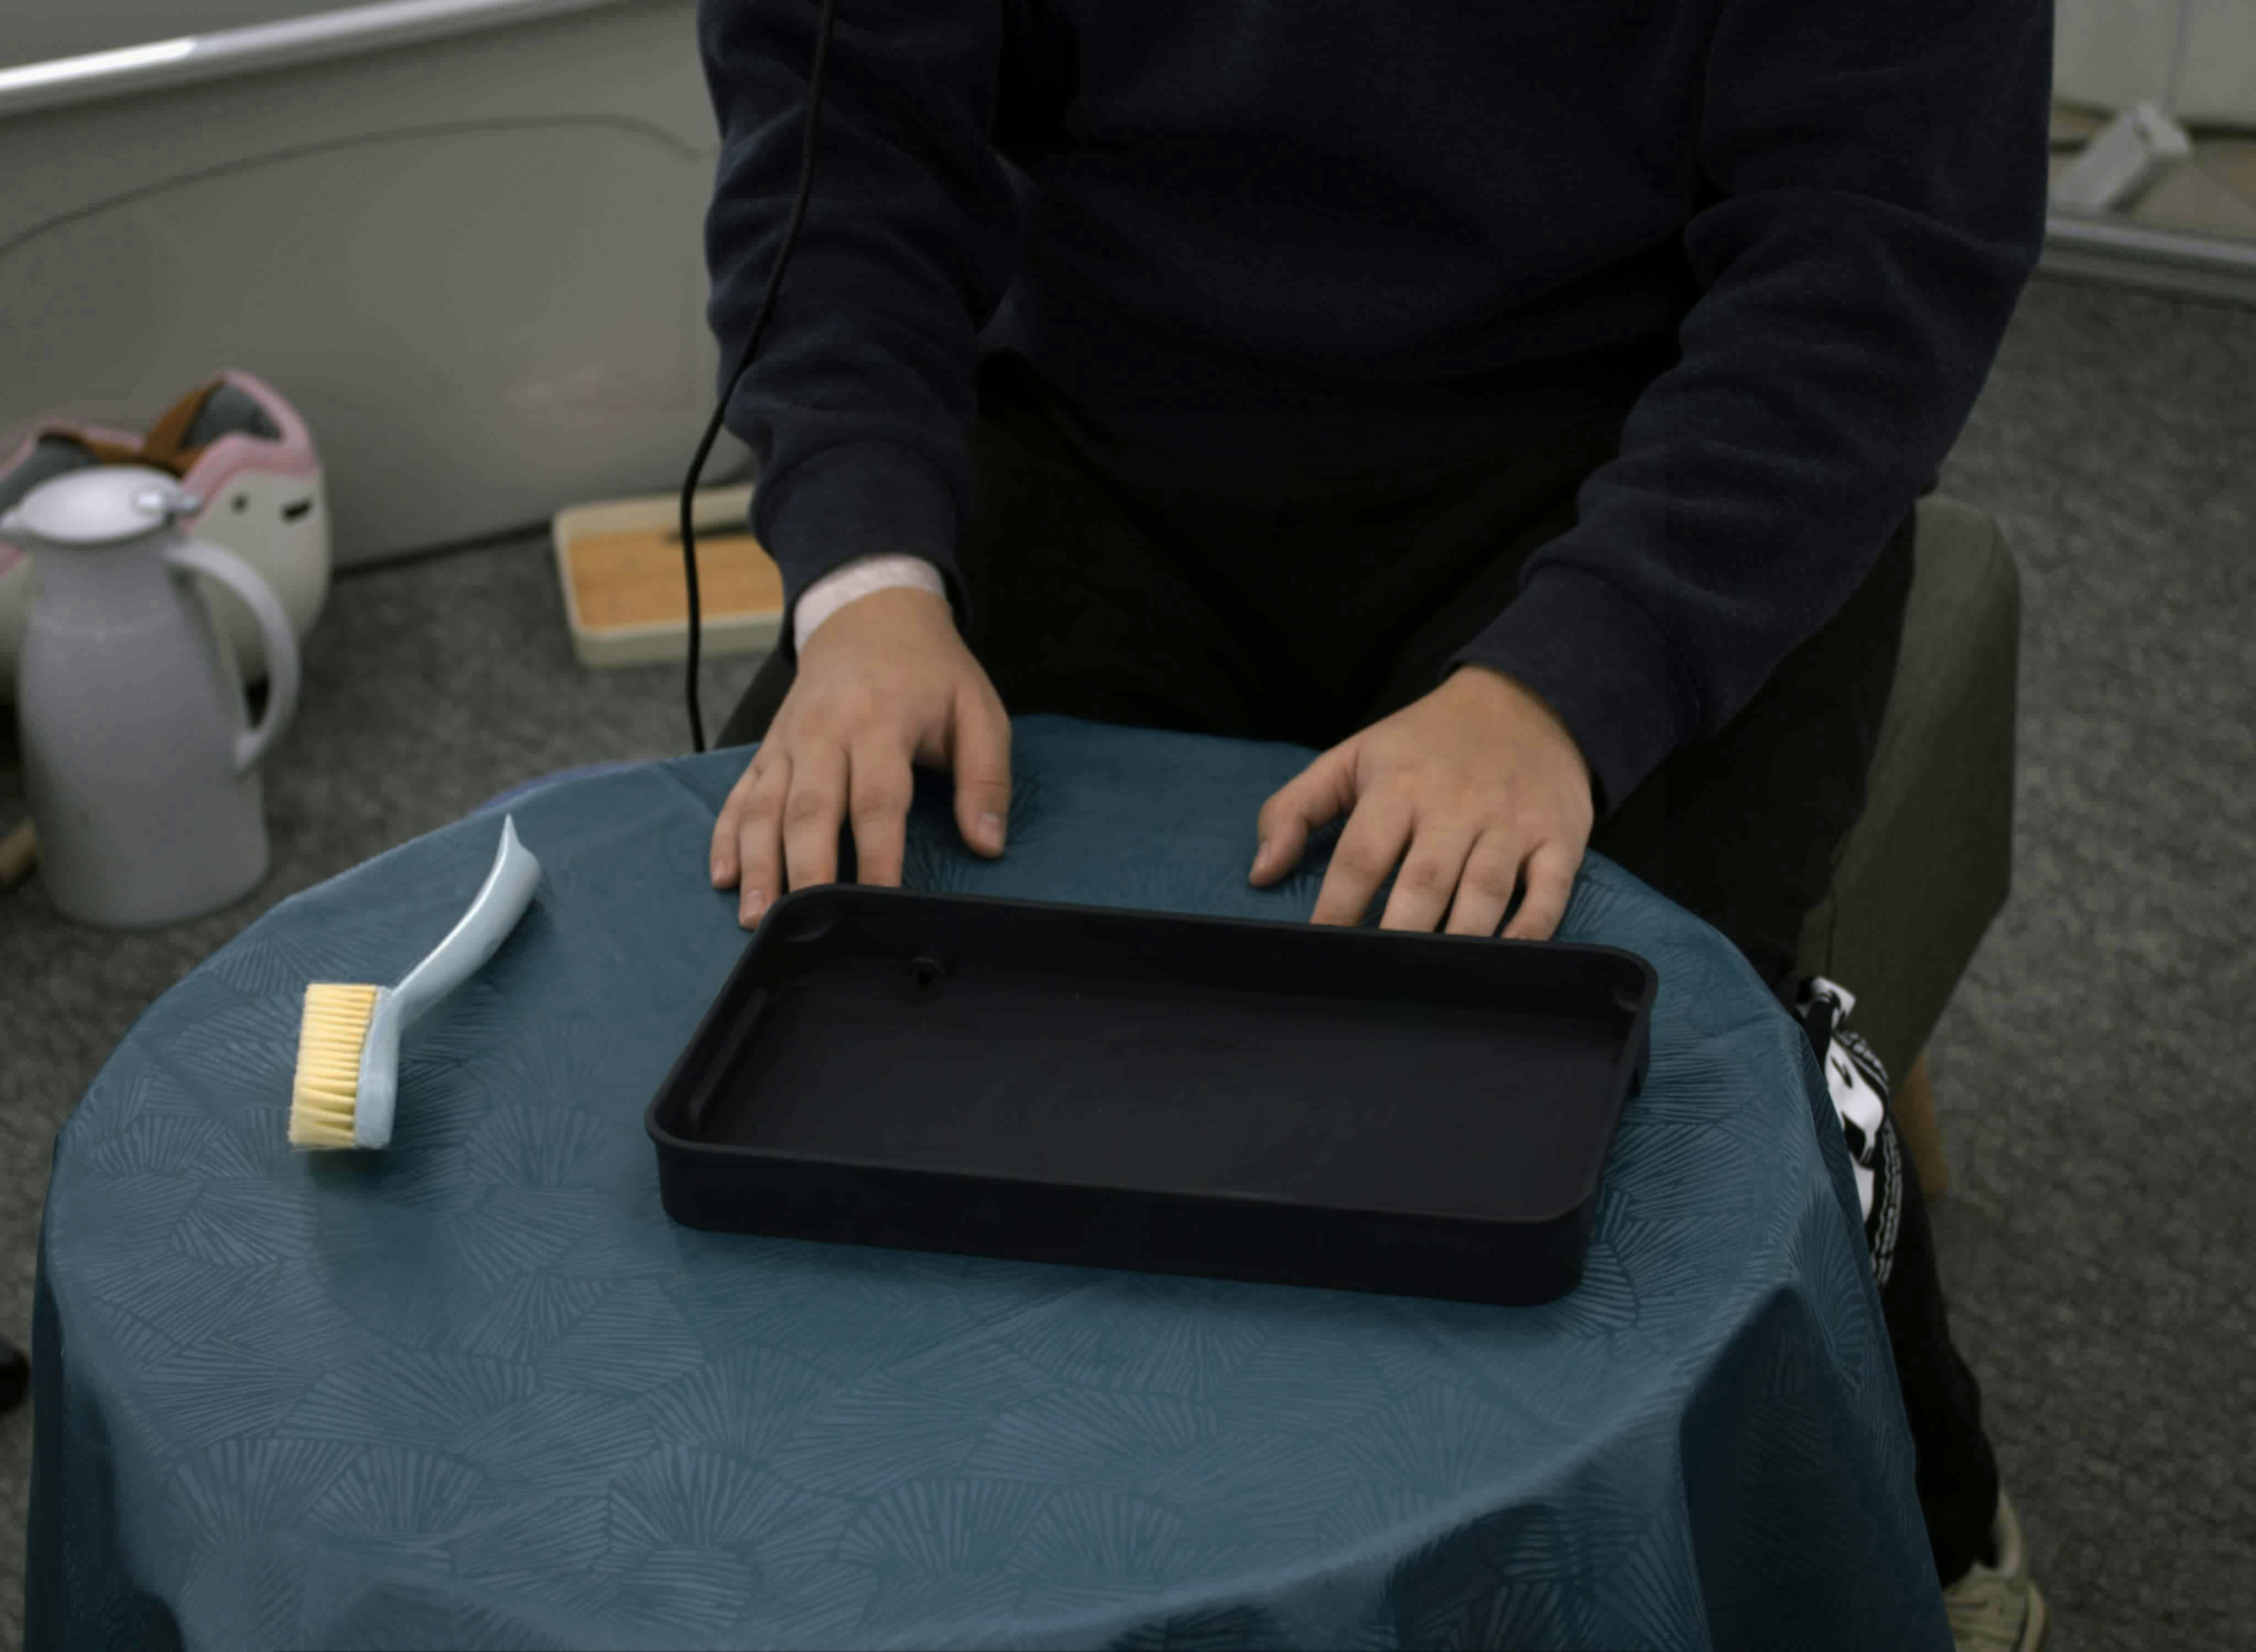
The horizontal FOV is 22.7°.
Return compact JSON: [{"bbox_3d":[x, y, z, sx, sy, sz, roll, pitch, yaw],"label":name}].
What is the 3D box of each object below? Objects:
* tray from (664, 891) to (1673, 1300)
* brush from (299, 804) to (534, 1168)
[{"bbox_3d":[0.017,0.088,1.890,0.316,0.036,0.187,3,27,12],"label":"tray"},{"bbox_3d":[-0.253,0.051,1.983,0.049,0.037,0.232,8,29,5],"label":"brush"}]
